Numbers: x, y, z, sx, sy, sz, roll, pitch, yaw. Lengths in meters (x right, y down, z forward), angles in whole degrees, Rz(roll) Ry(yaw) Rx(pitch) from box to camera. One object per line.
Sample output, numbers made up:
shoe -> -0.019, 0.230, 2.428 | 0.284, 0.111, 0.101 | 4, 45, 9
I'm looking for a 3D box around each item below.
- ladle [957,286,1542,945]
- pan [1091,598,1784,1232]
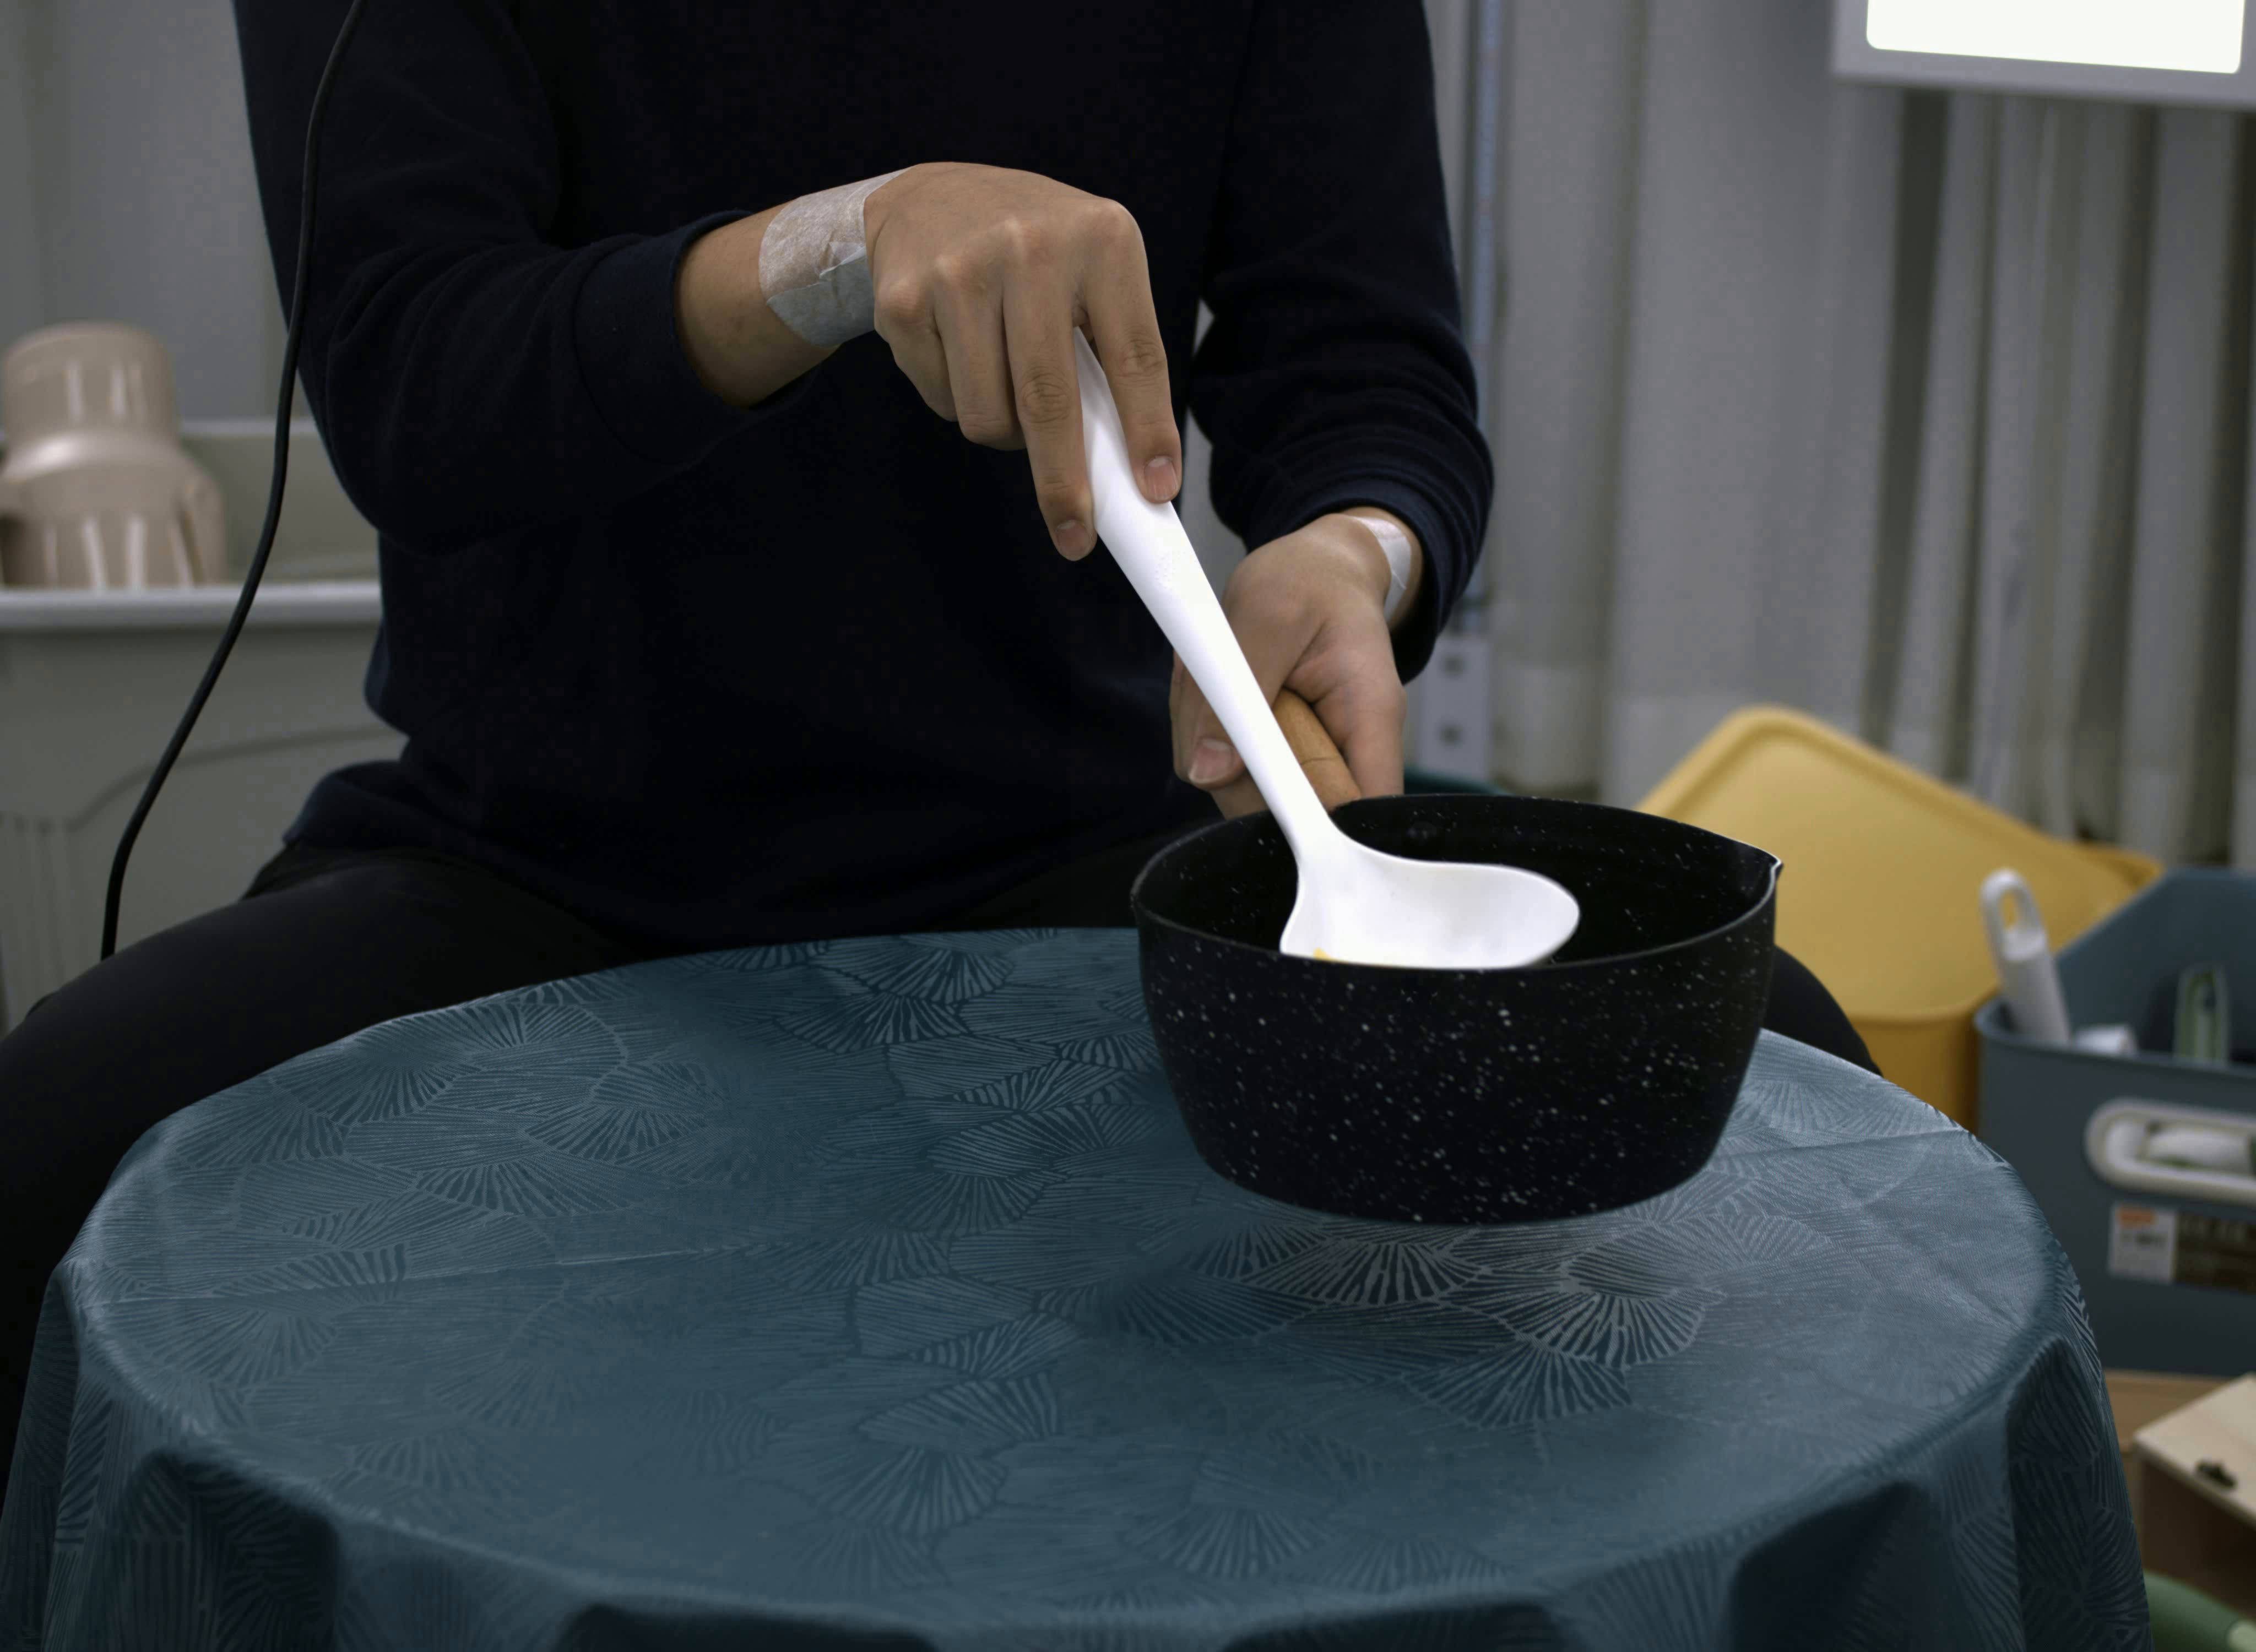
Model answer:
ladle -> 0.026, -0.054, 1.587 | 0.090, 0.070, 0.290 | -22, 67, -16
pan -> 0.072, 0.022, 1.605 | 0.208, 0.109, 0.339 | -5, 18, -15
